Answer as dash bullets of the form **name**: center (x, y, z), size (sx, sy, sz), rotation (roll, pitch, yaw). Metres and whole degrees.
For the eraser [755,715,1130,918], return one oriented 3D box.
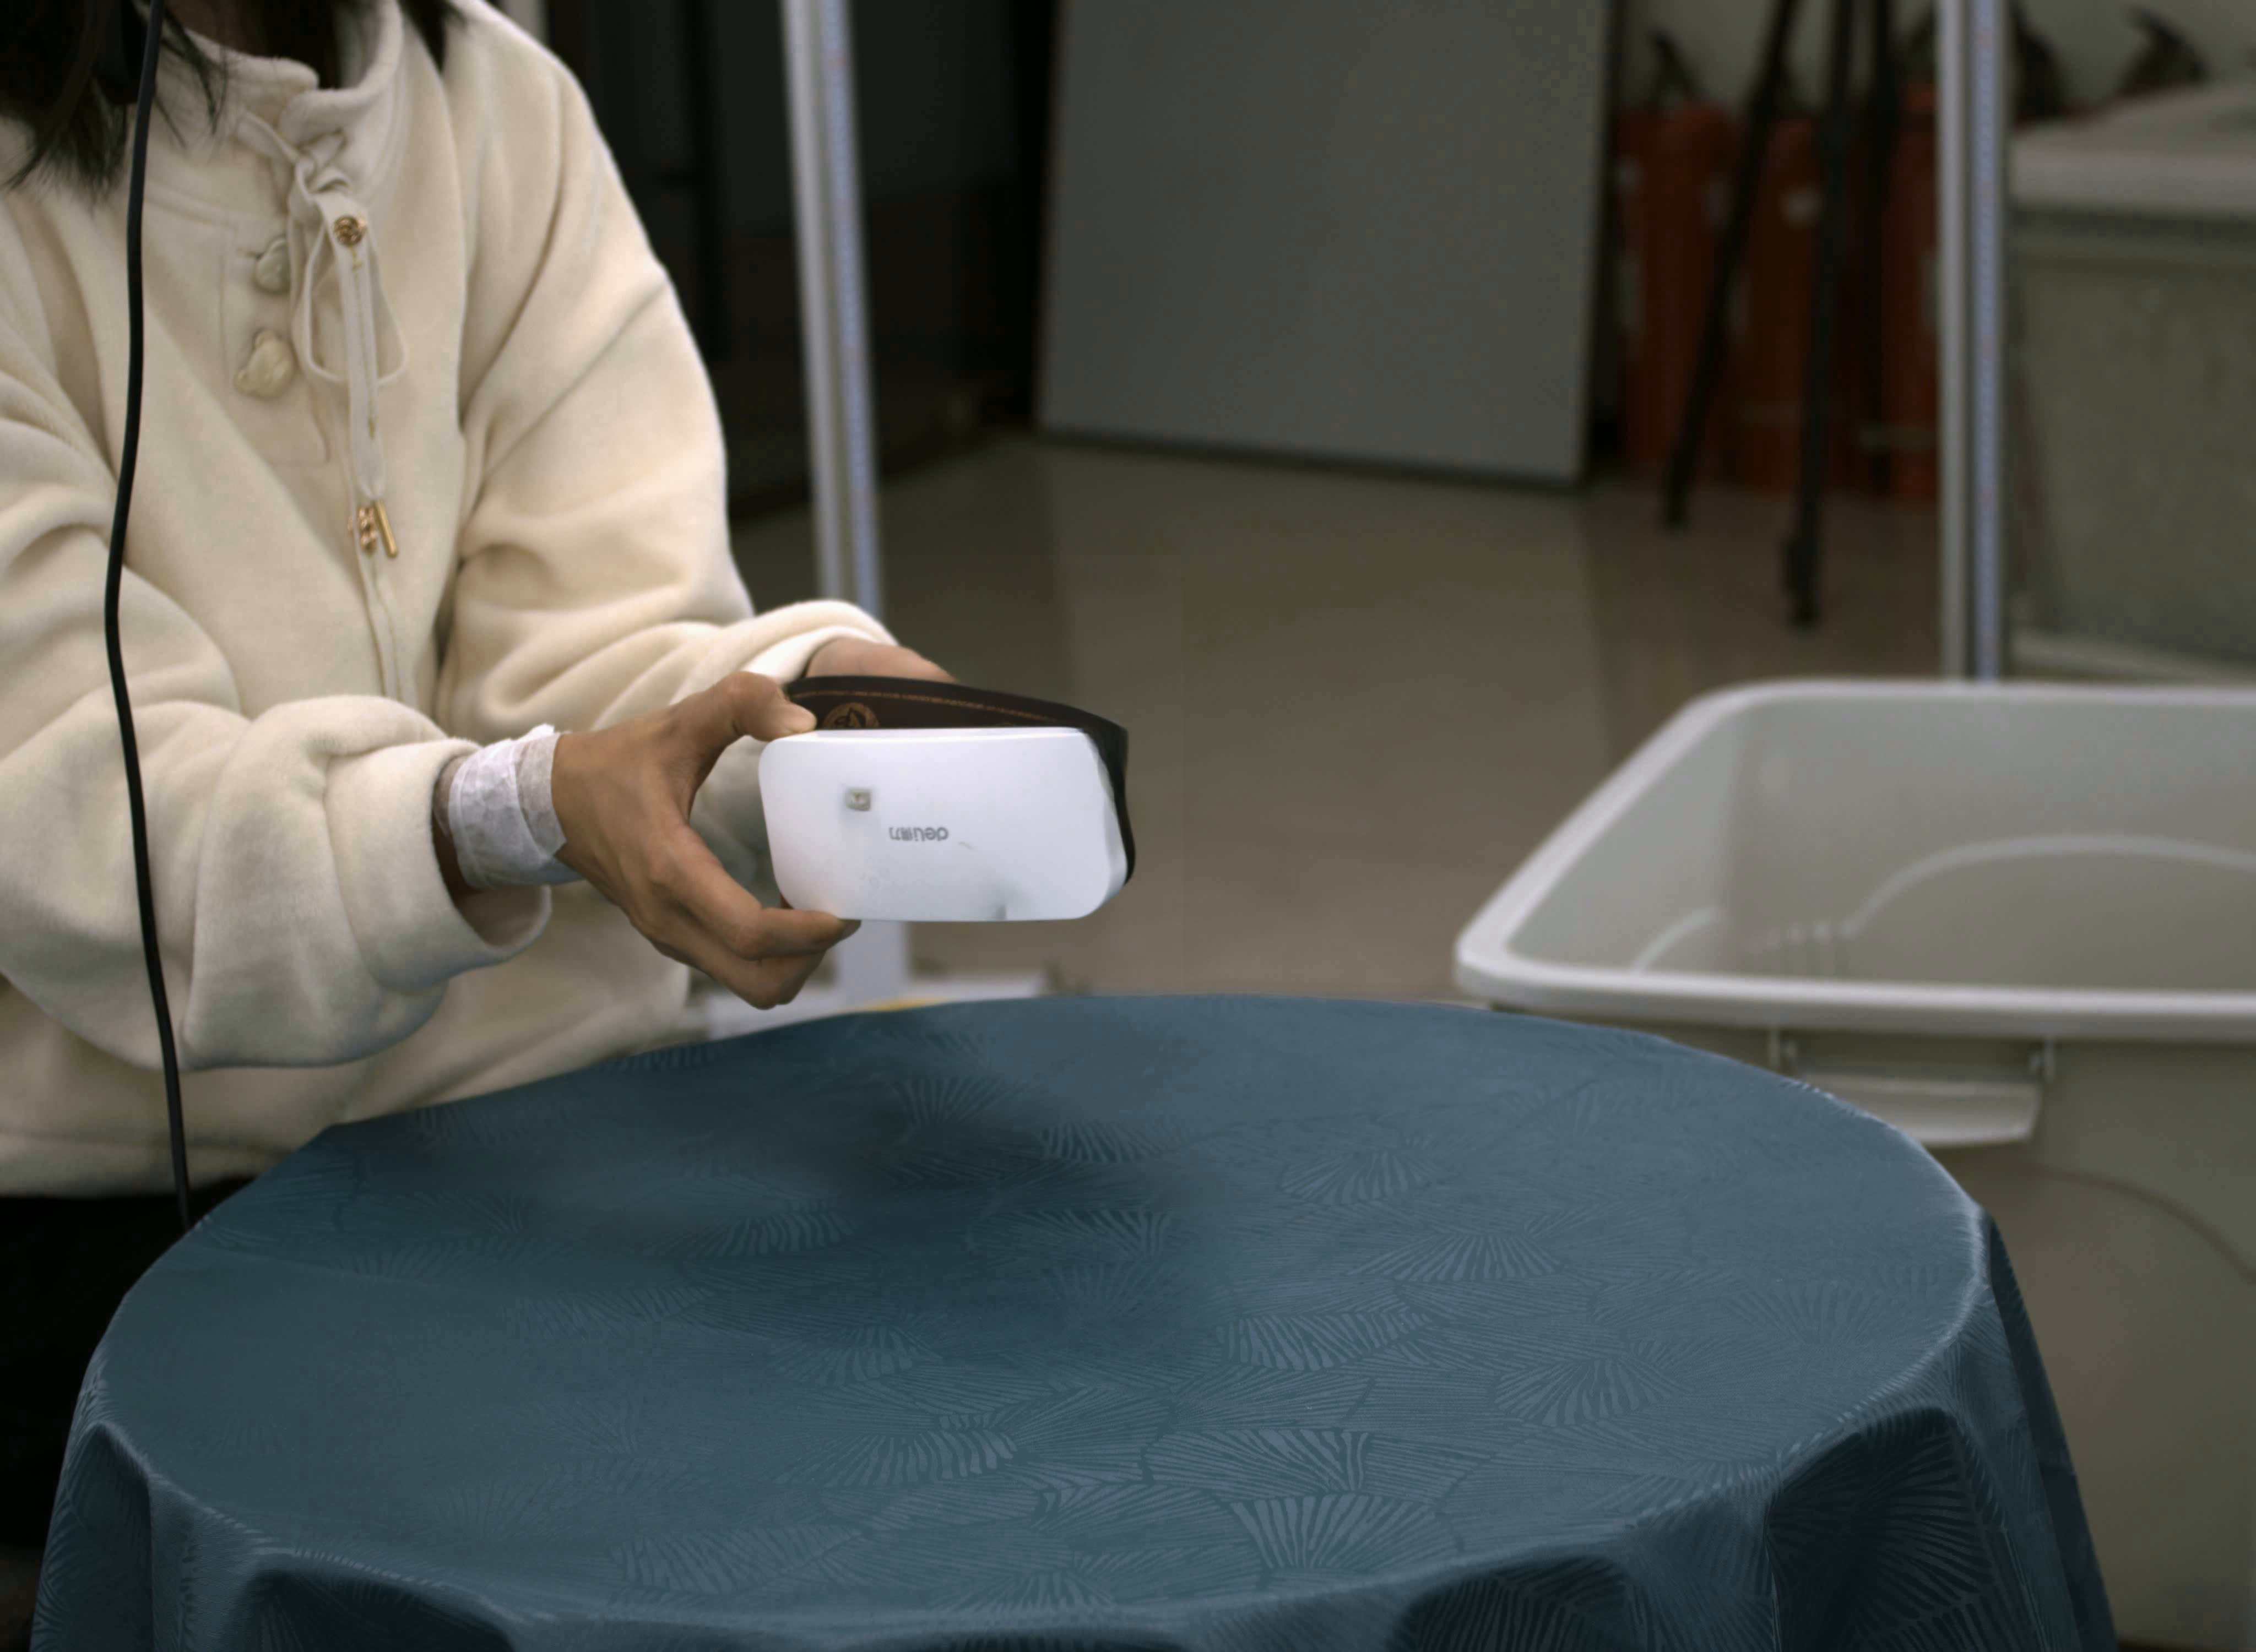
- **eraser**: center (-0.061, -0.005, 1.719), size (0.132, 0.064, 0.034), rotation (-1, 13, 33)

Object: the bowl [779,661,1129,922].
- **bowl**: center (-0.061, -0.008, 1.801), size (0.116, 0.070, 0.118), rotation (9, -10, 1)
